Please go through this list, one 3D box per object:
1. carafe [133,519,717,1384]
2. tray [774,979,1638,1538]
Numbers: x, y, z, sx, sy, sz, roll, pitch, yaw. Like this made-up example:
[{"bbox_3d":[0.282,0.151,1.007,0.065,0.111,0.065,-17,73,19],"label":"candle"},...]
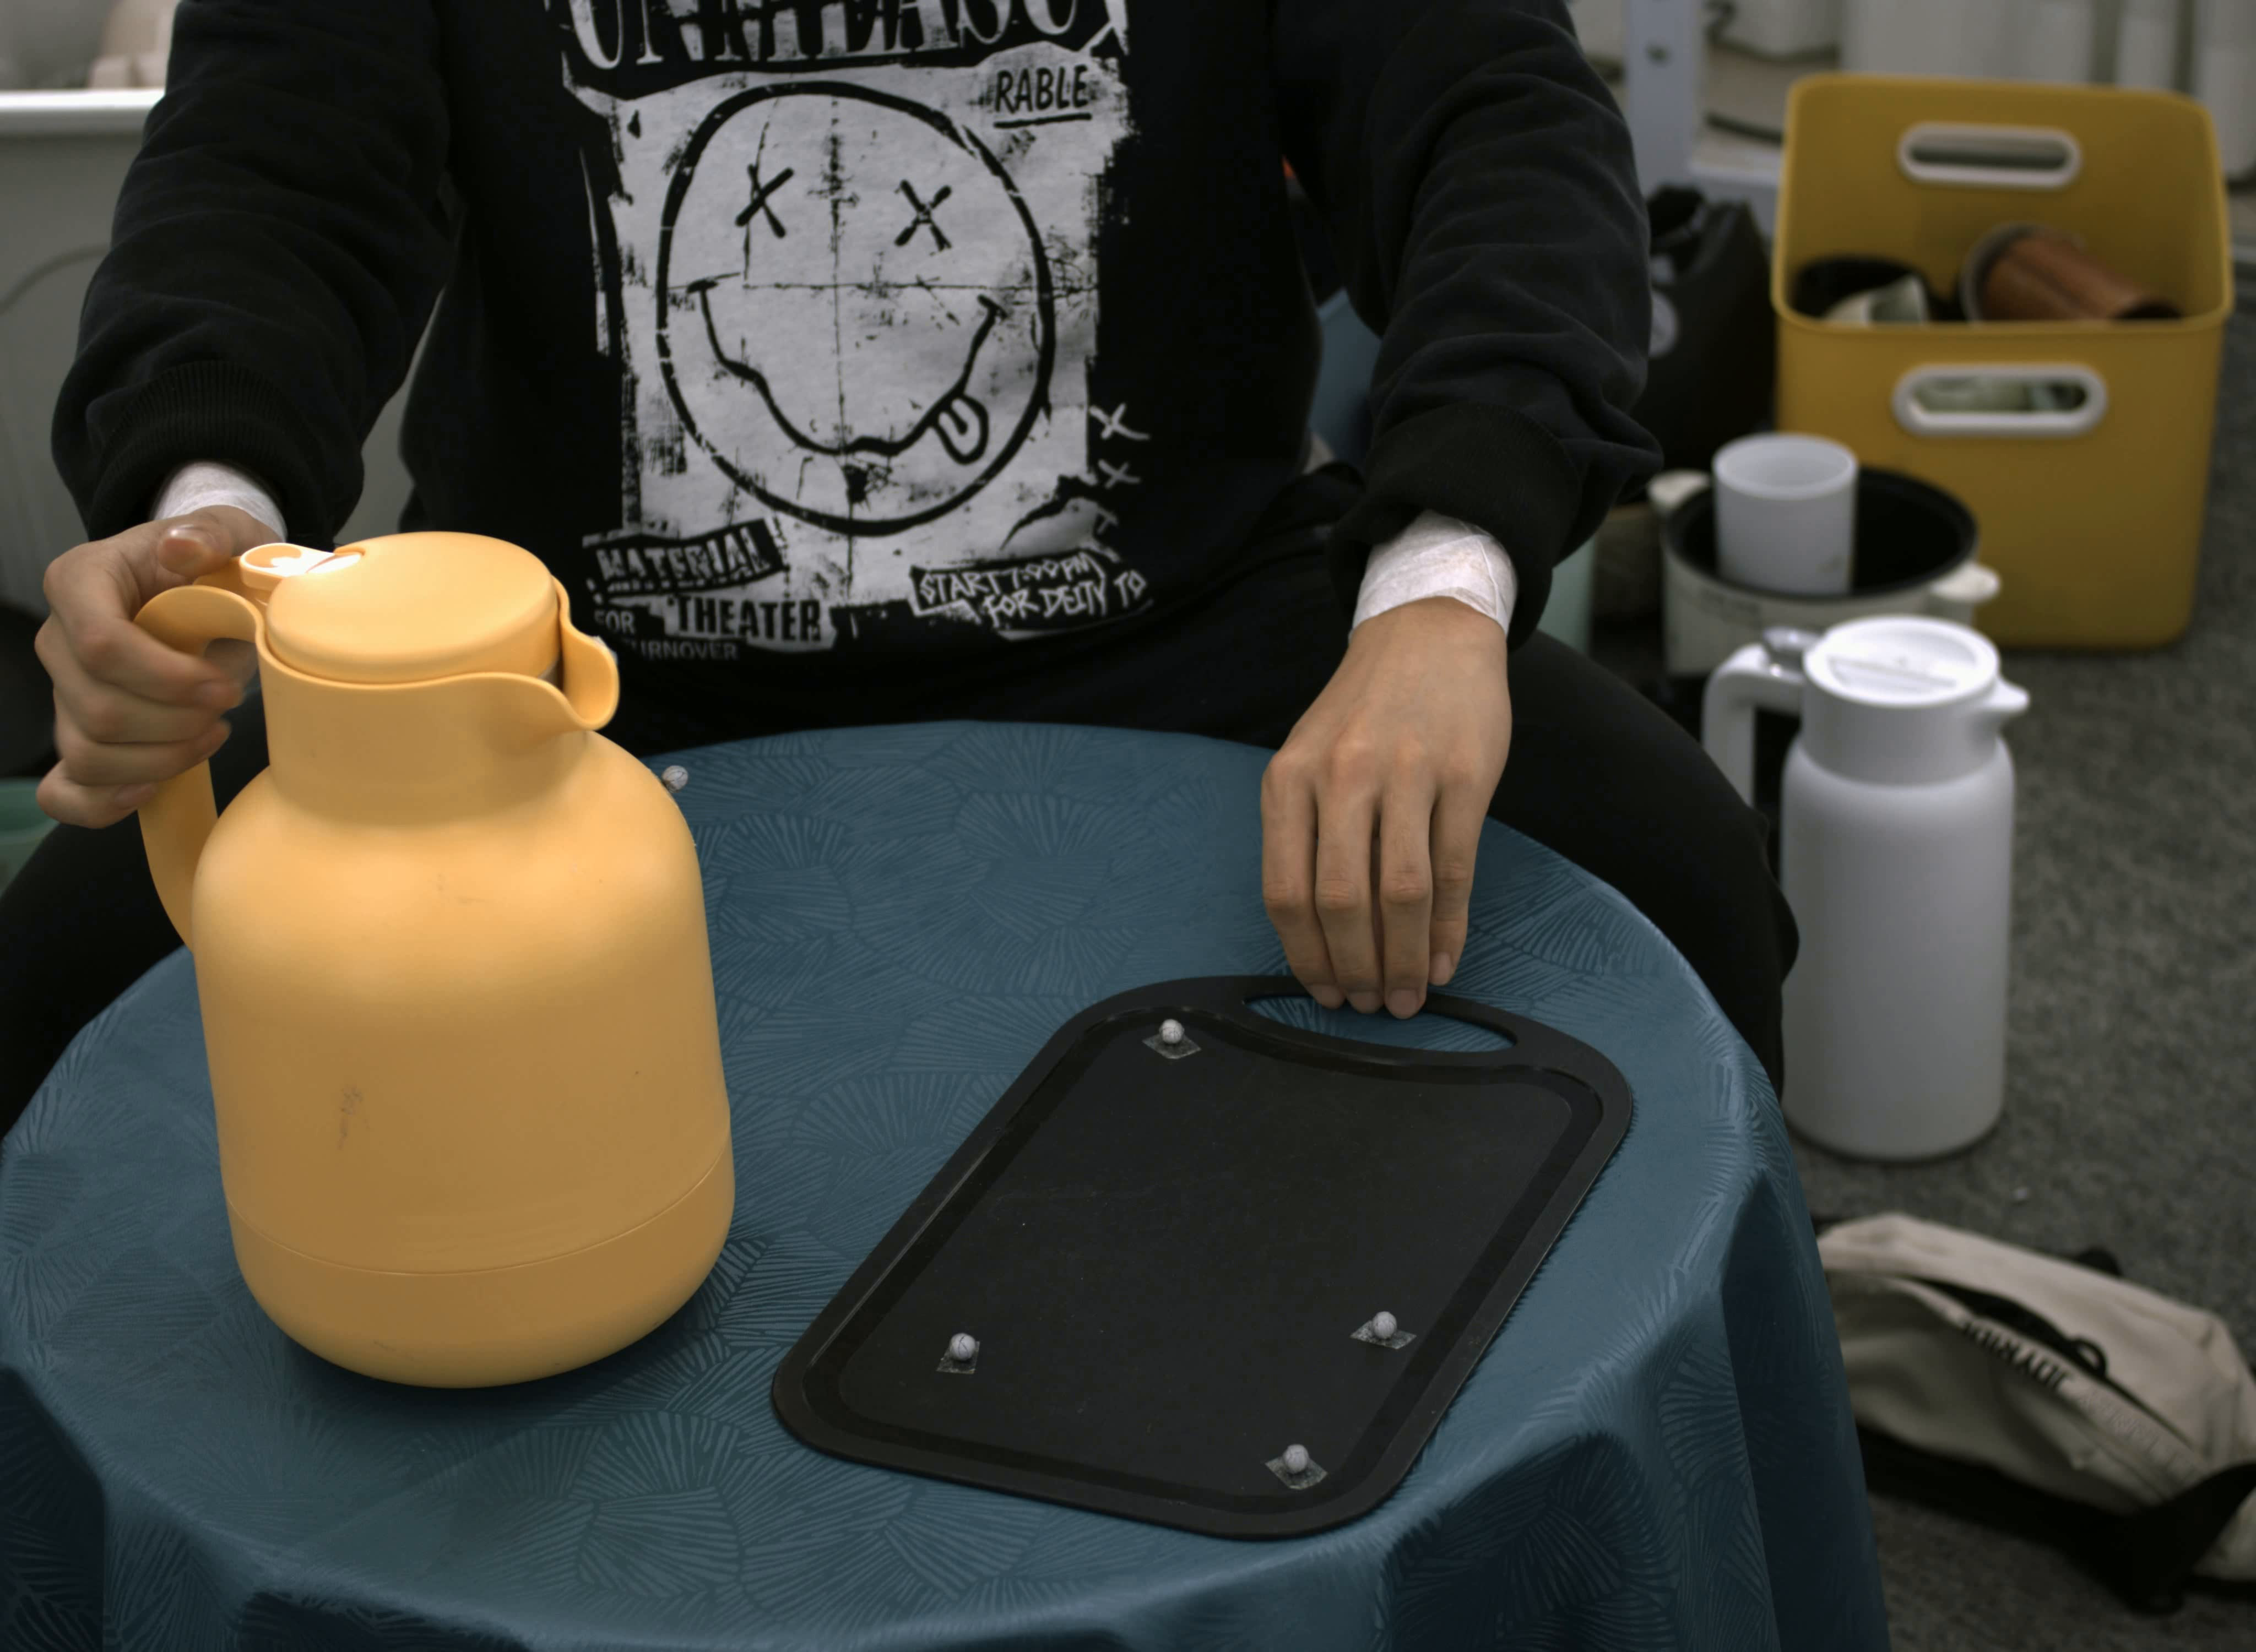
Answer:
[{"bbox_3d":[-0.228,0.029,1.776,0.202,0.258,0.165,18,31,33],"label":"carafe"},{"bbox_3d":[0.033,0.129,1.833,0.210,0.009,0.331,9,30,22],"label":"tray"}]
